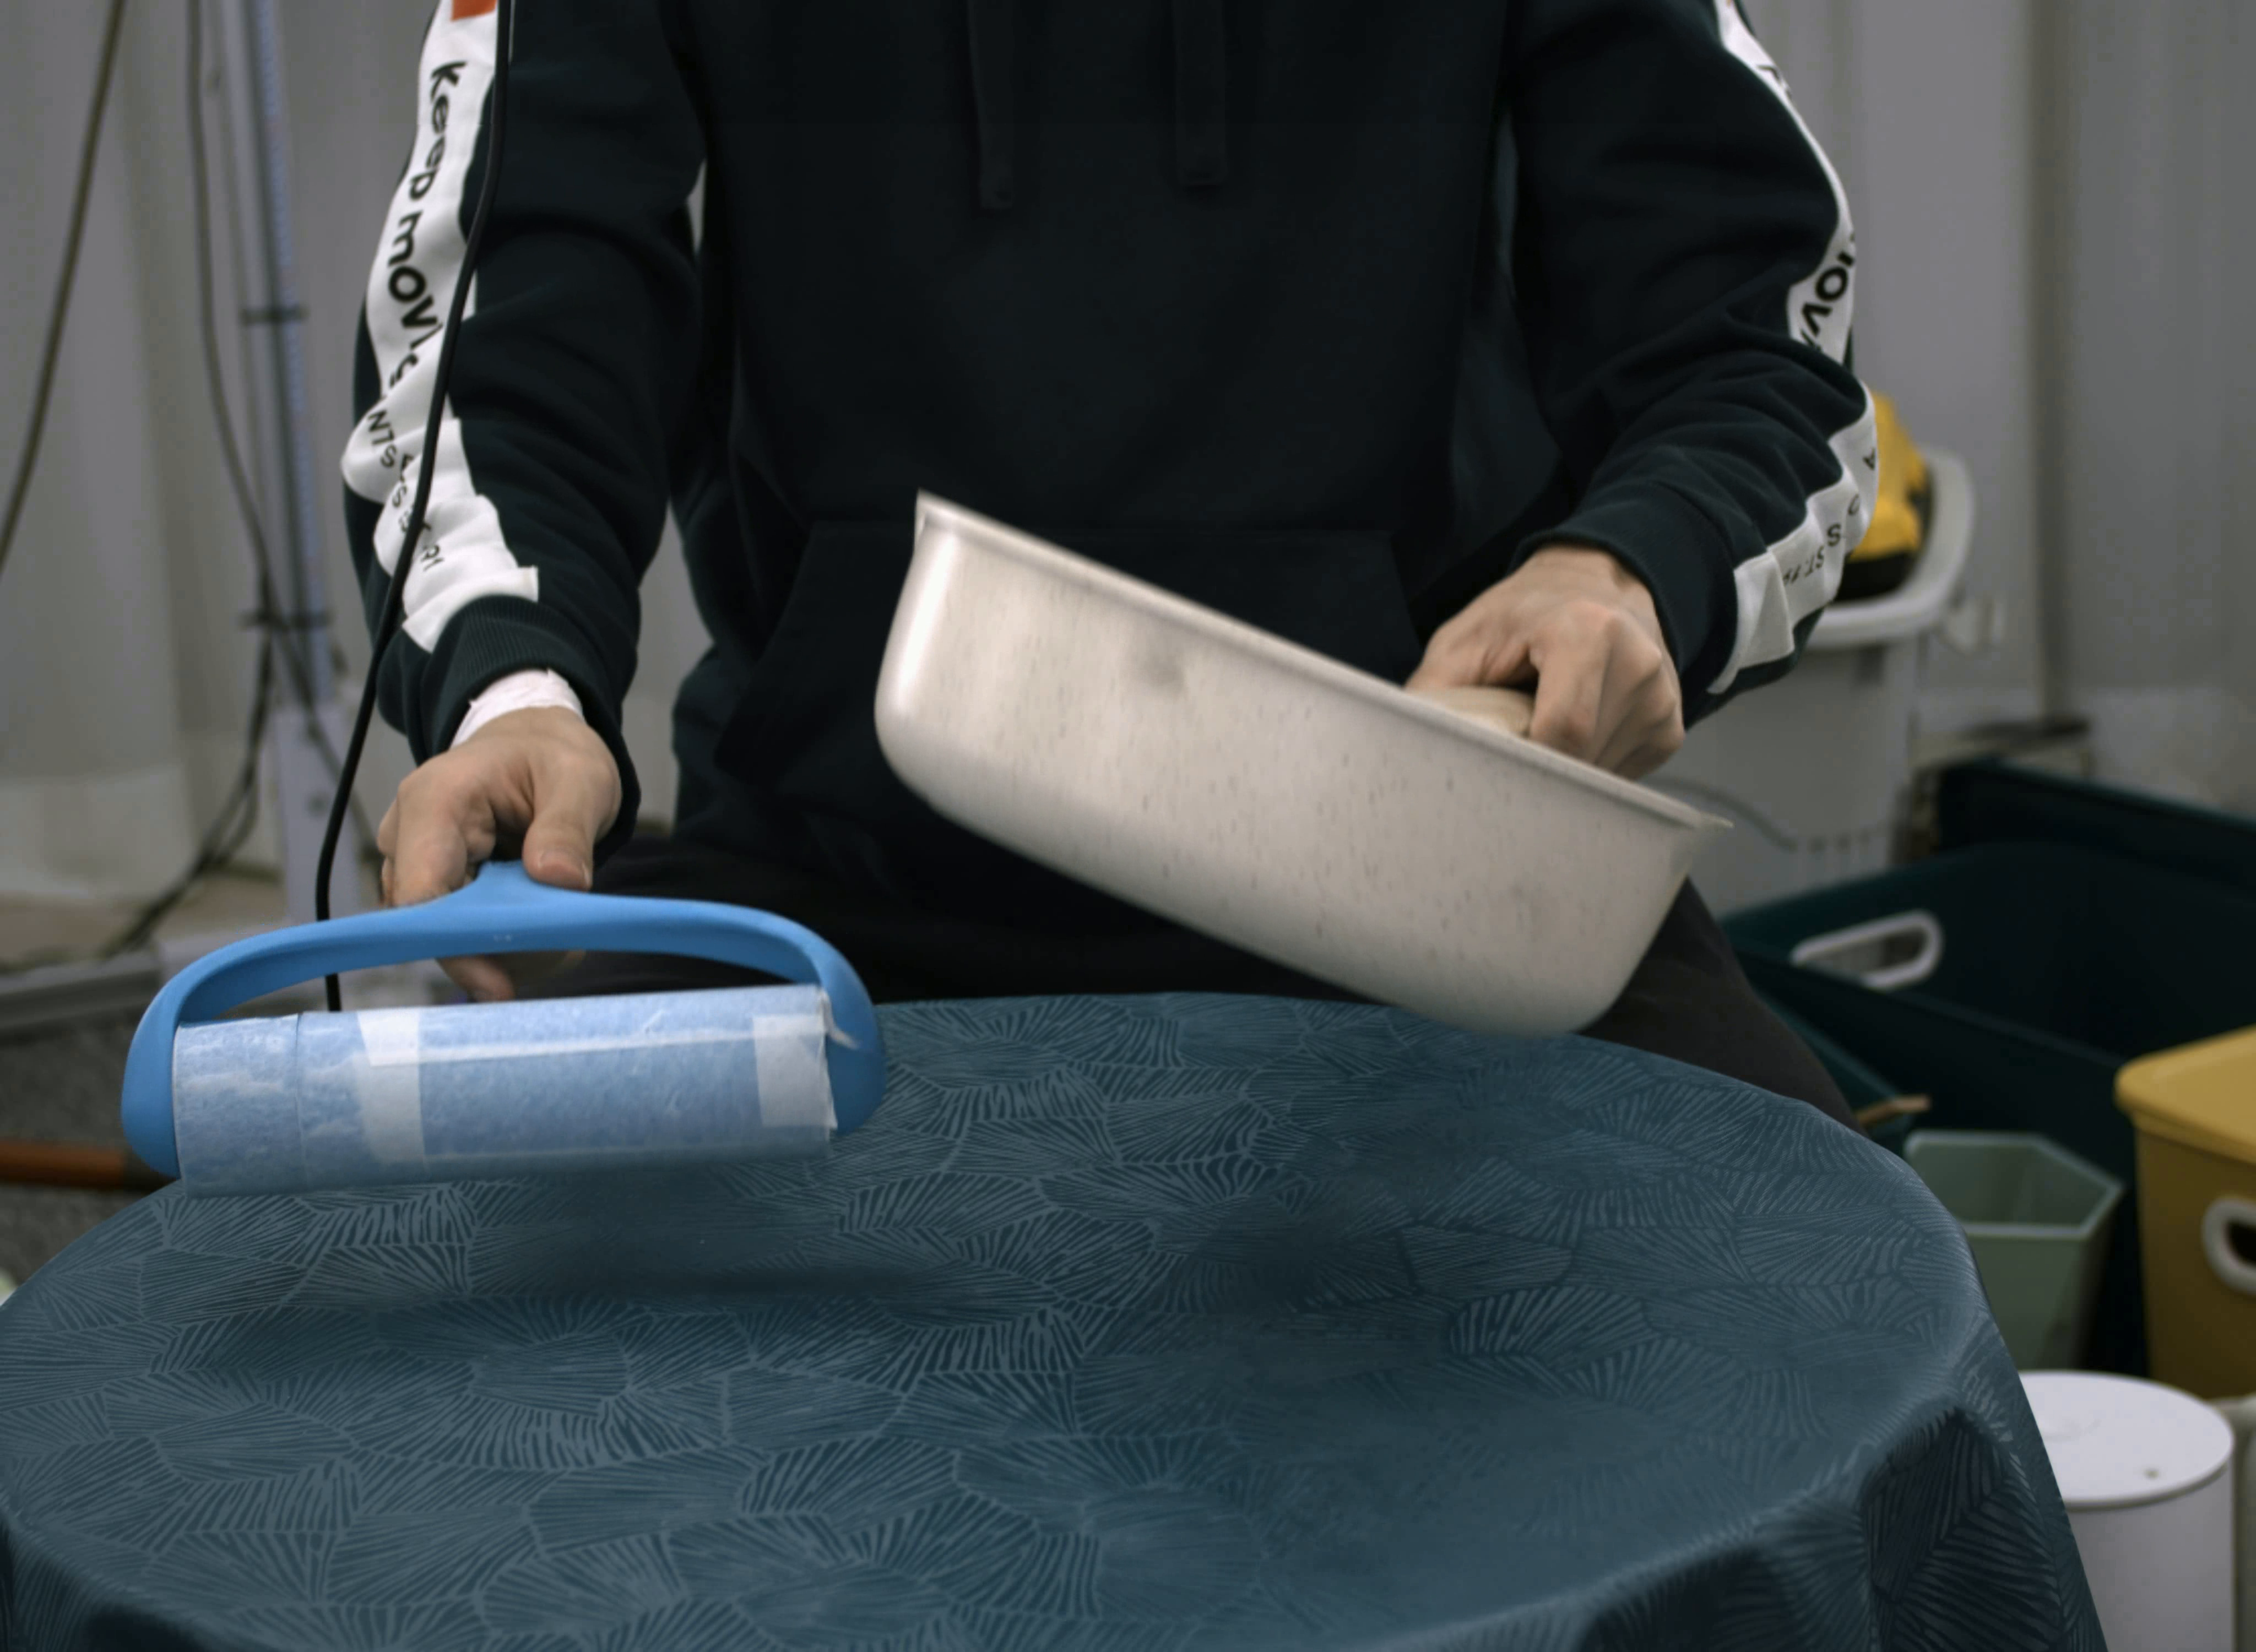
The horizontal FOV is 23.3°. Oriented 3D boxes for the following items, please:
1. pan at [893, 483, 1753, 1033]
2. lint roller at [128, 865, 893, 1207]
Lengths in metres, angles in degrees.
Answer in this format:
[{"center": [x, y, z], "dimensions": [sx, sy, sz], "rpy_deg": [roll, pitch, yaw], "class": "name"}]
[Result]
[{"center": [0.076, -0.012, 1.666], "dimensions": [0.264, 0.102, 0.432], "rpy_deg": [23, 1, 19], "class": "pan"}, {"center": [-0.192, 0.048, 1.689], "dimensions": [0.228, 0.067, 0.183], "rpy_deg": [-7, 31, -4], "class": "lint roller"}]
